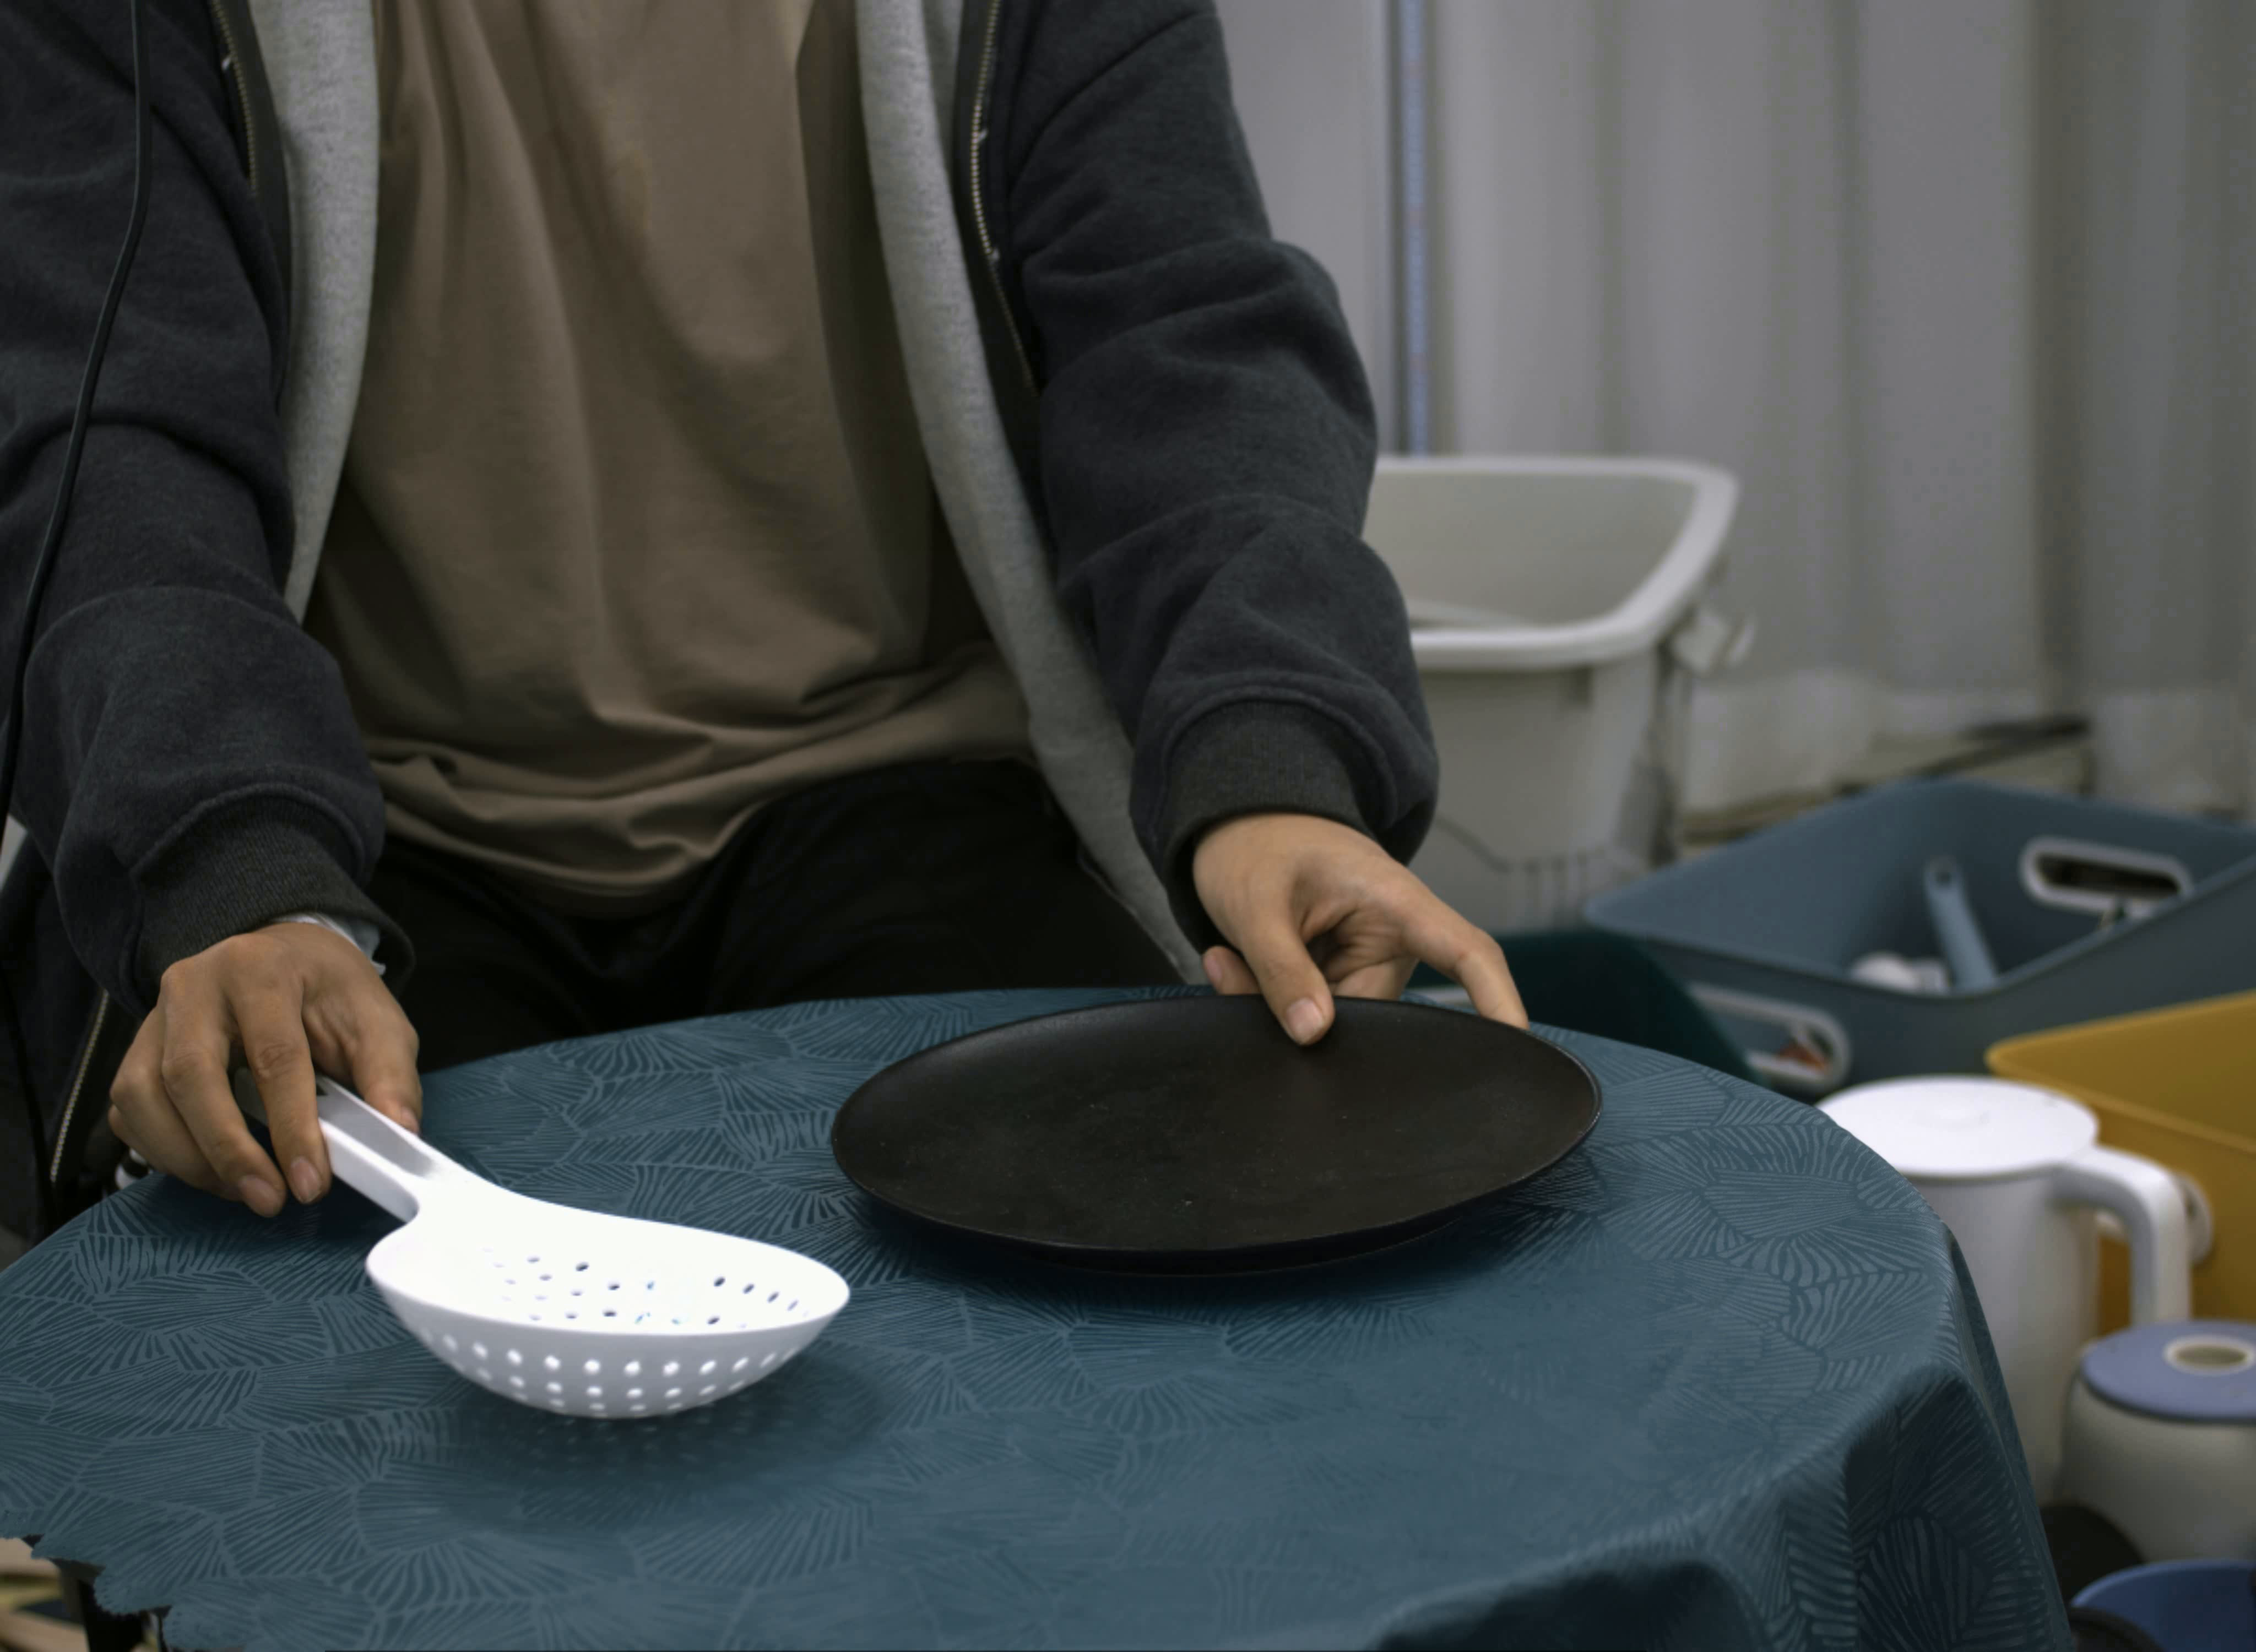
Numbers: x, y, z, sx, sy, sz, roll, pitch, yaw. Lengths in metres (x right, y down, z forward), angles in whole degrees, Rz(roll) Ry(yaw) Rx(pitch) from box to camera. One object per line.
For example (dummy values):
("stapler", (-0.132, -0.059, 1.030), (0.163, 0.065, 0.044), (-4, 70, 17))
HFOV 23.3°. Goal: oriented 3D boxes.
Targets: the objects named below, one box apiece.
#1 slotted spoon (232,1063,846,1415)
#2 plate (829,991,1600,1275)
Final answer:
("slotted spoon", (-0.200, 0.115, 1.639), (0.135, 0.045, 0.353), (3, 13, -29))
("plate", (0.027, 0.099, 1.719), (0.243, 0.023, 0.246), (-3, 16, 1))
